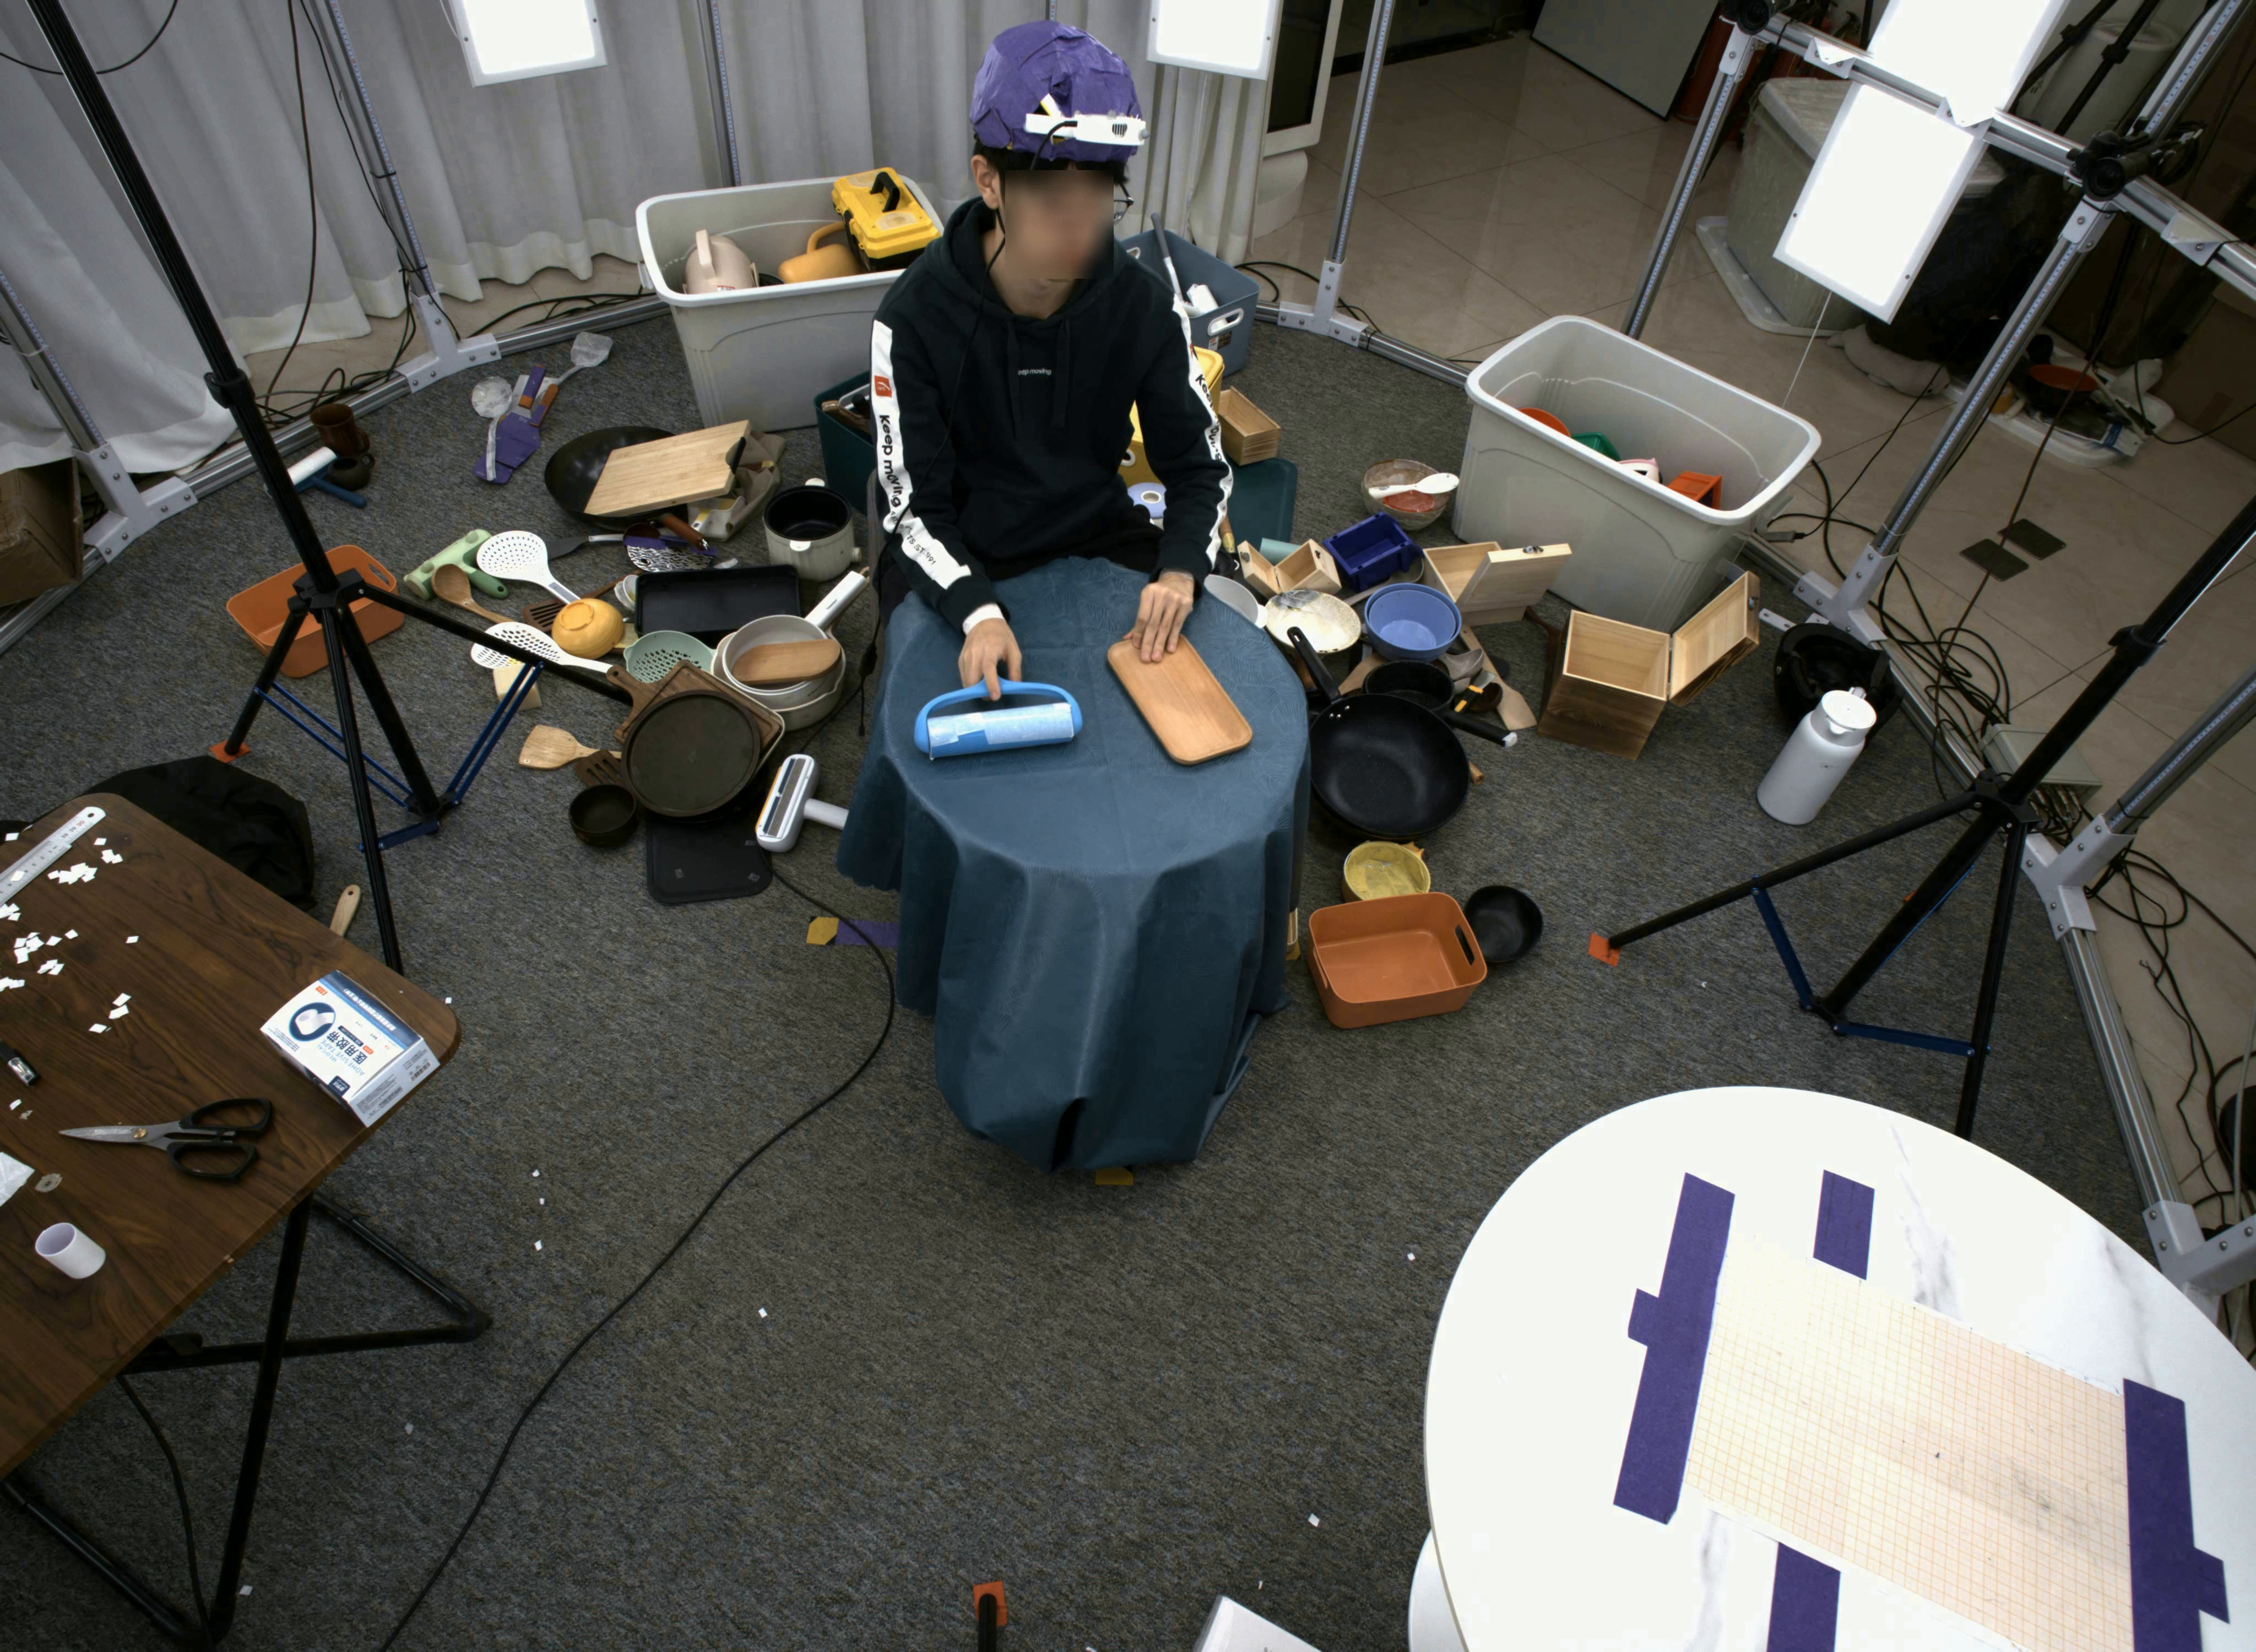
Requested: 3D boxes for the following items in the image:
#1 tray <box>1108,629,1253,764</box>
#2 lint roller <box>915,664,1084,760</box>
[{"bbox_3d":[0.071,-0.187,1.823,0.130,0.022,0.256,-16,52,-19],"label":"tray"},{"bbox_3d":[-0.188,-0.176,1.771,0.229,0.066,0.185,-11,52,-11],"label":"lint roller"}]
